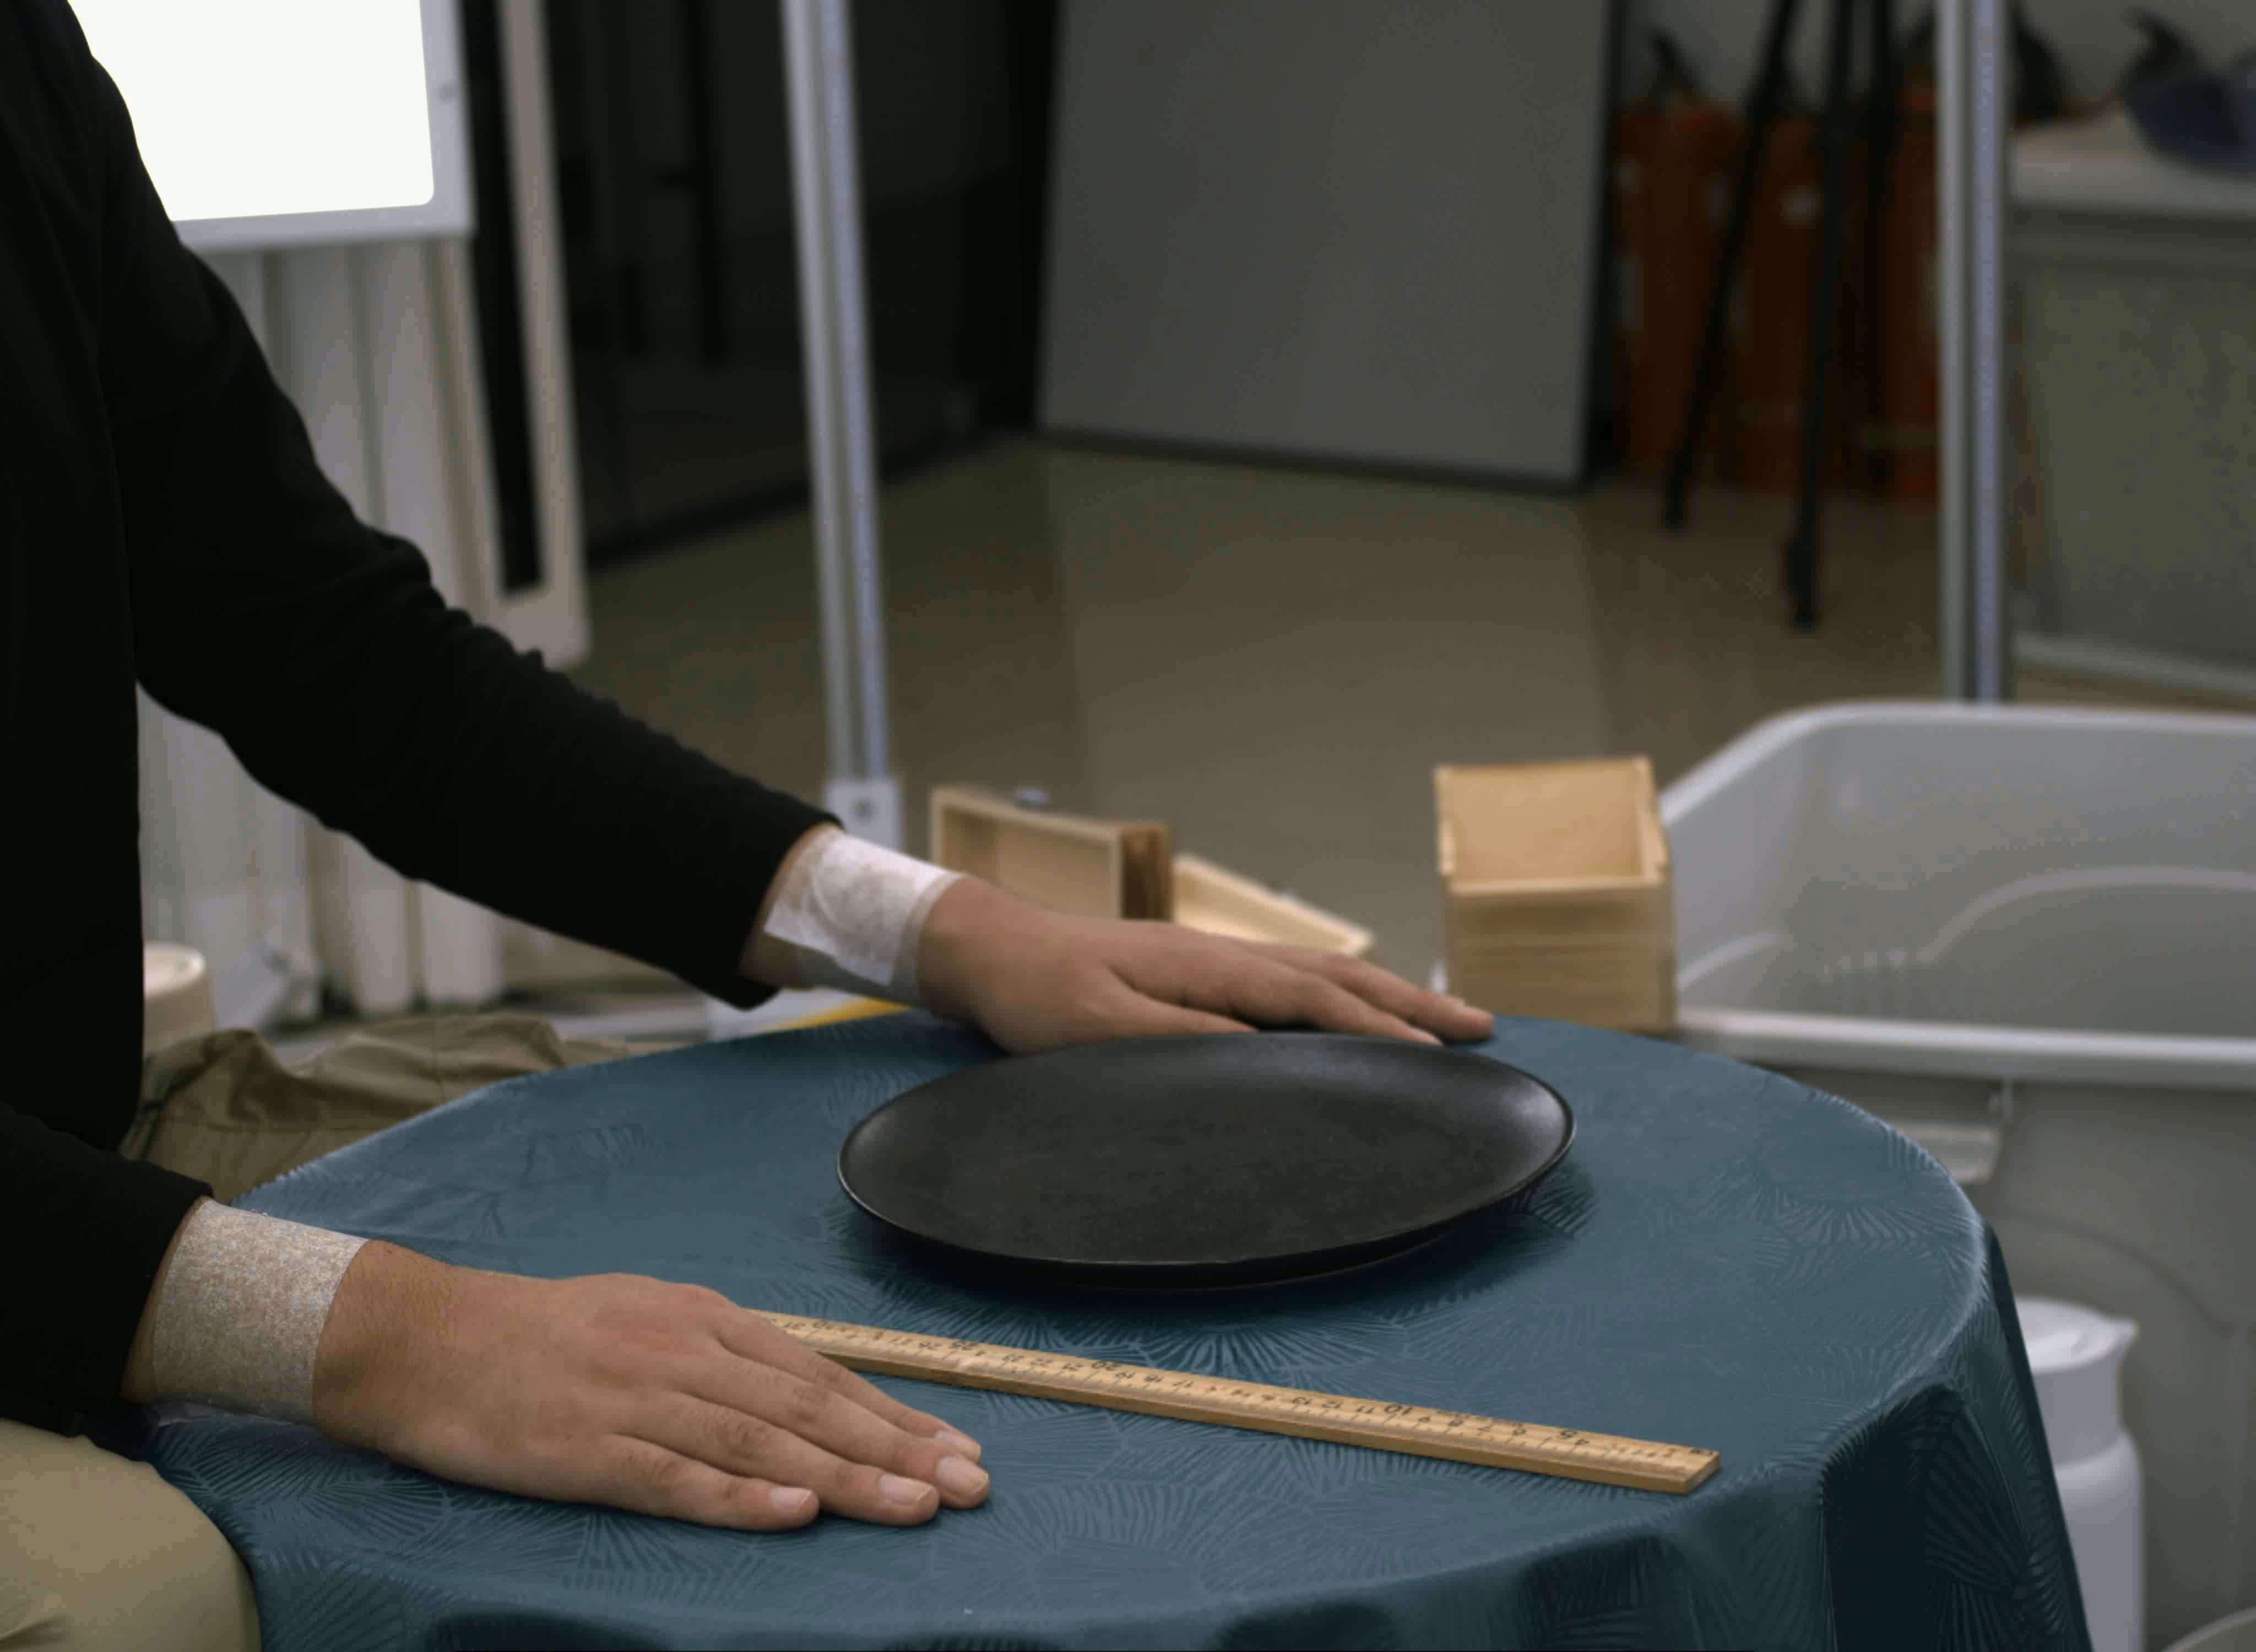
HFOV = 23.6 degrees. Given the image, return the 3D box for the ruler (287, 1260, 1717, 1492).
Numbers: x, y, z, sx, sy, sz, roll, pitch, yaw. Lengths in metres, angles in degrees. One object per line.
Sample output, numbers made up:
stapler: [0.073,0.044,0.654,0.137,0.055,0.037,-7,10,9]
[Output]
ruler: [-0.052,0.161,1.614,0.503,0.006,0.026,4,14,32]

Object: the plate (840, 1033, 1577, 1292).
plate: [0.027,0.111,1.752,0.241,0.024,0.245,-4,14,0]
